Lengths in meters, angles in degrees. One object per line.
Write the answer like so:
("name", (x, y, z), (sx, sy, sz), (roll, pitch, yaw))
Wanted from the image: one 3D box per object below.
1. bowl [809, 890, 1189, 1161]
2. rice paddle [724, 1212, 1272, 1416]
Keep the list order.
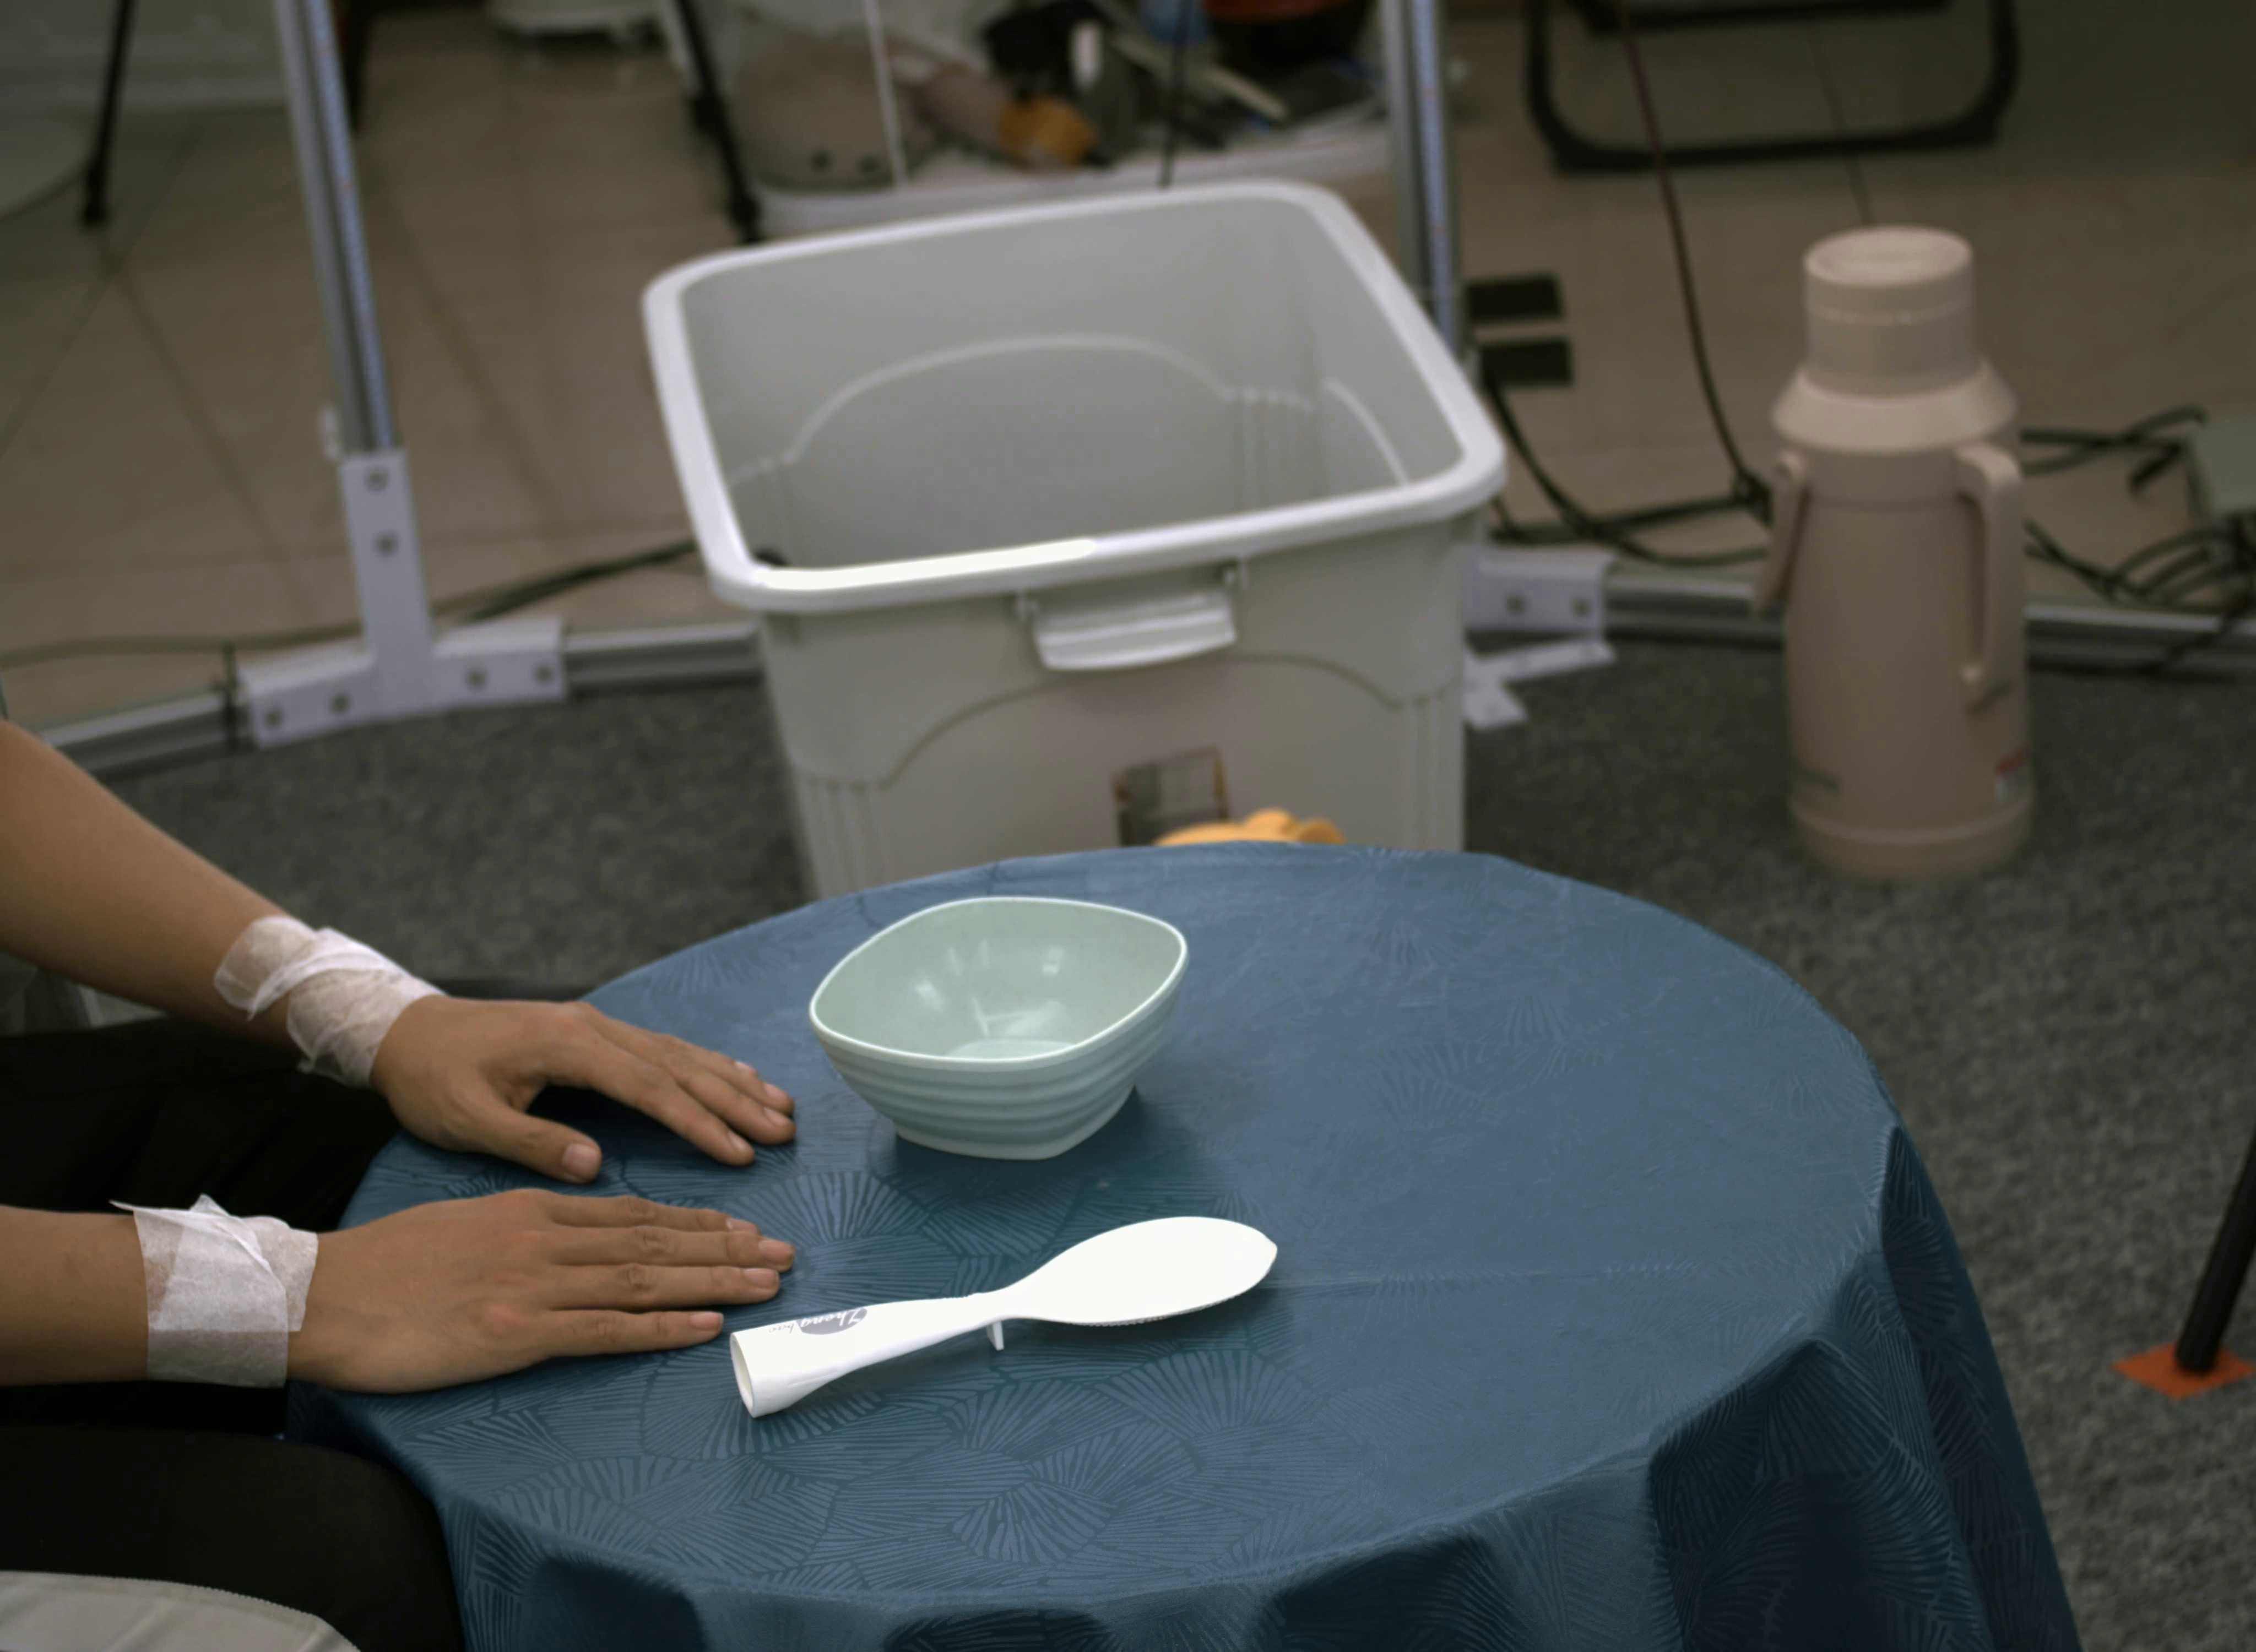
("bowl", (-0.048, 0.083, 2.214), (0.151, 0.059, 0.149), (-4, 27, 2))
("rice paddle", (-0.045, 0.172, 2.054), (0.204, 0.030, 0.068), (-14, 28, -14))
